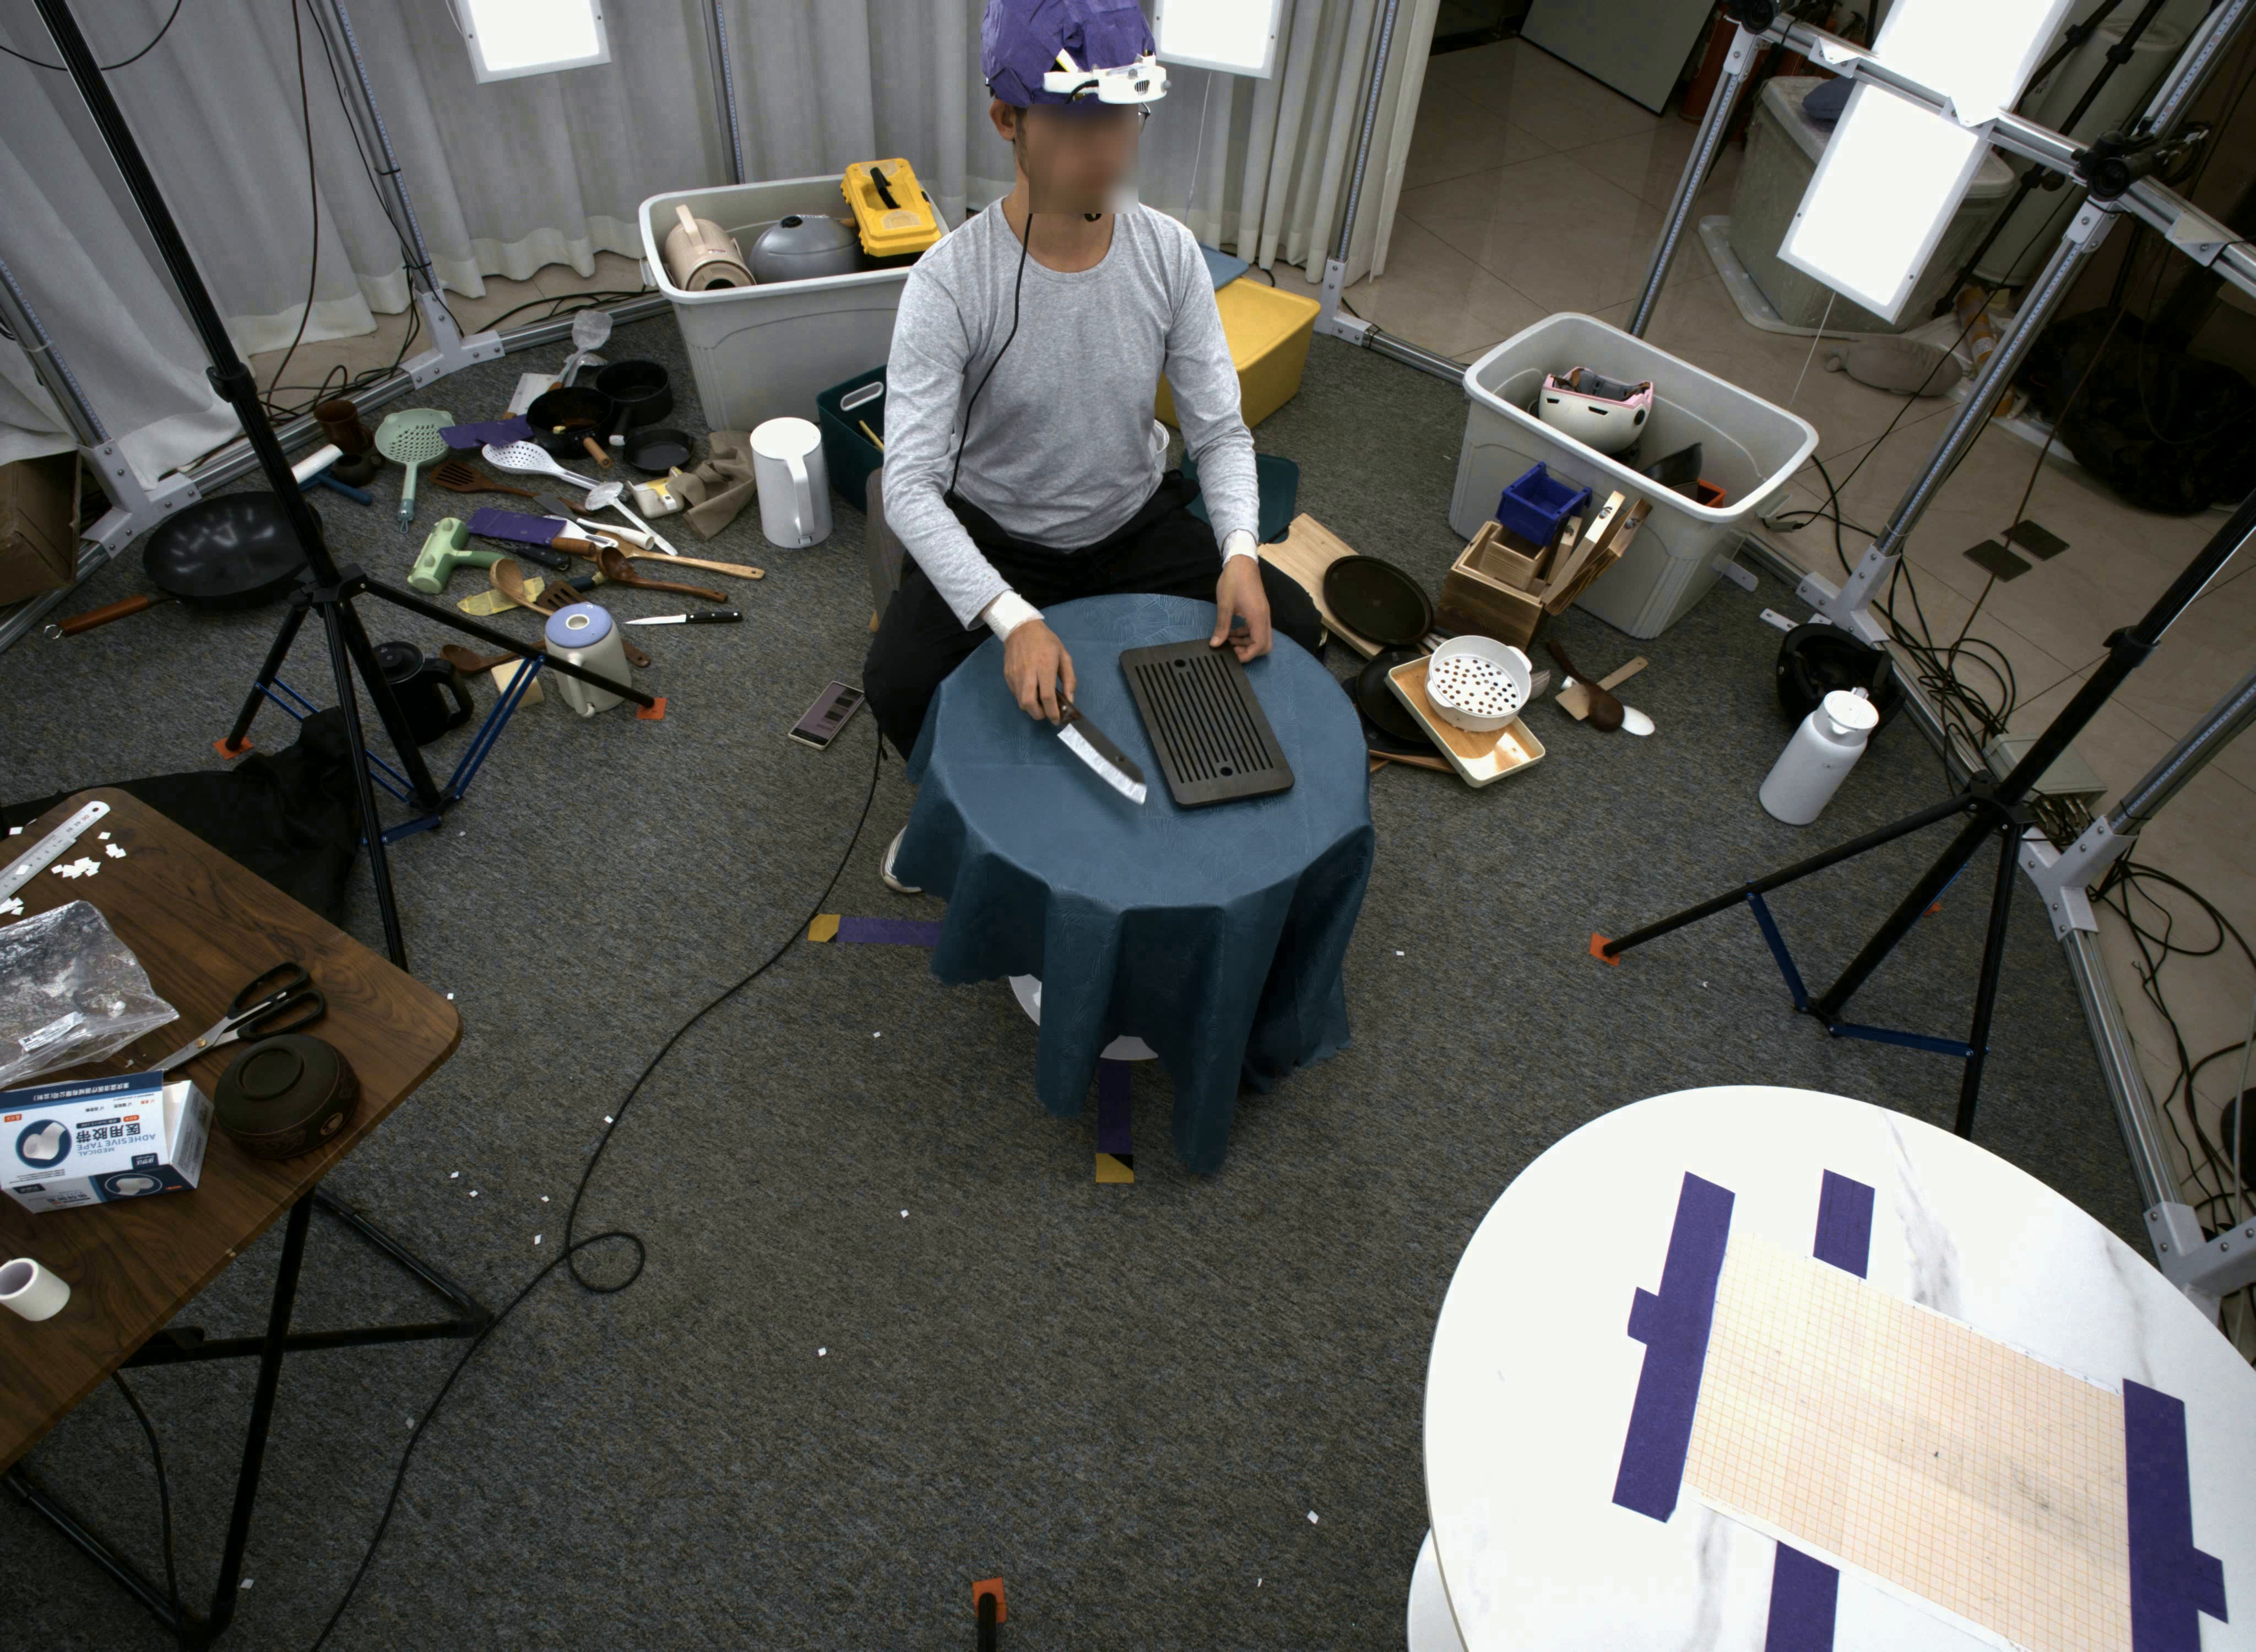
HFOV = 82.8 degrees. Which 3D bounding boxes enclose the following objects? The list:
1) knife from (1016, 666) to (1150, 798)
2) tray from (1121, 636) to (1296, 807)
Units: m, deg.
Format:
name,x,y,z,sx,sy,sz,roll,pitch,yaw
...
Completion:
name,x,y,z,sx,sy,sz,roll,pitch,yaw
knife,-0.062,-0.128,1.713,0.050,0.019,0.294,-46,59,2
tray,0.108,-0.151,1.794,0.170,0.018,0.313,-9,50,-11
